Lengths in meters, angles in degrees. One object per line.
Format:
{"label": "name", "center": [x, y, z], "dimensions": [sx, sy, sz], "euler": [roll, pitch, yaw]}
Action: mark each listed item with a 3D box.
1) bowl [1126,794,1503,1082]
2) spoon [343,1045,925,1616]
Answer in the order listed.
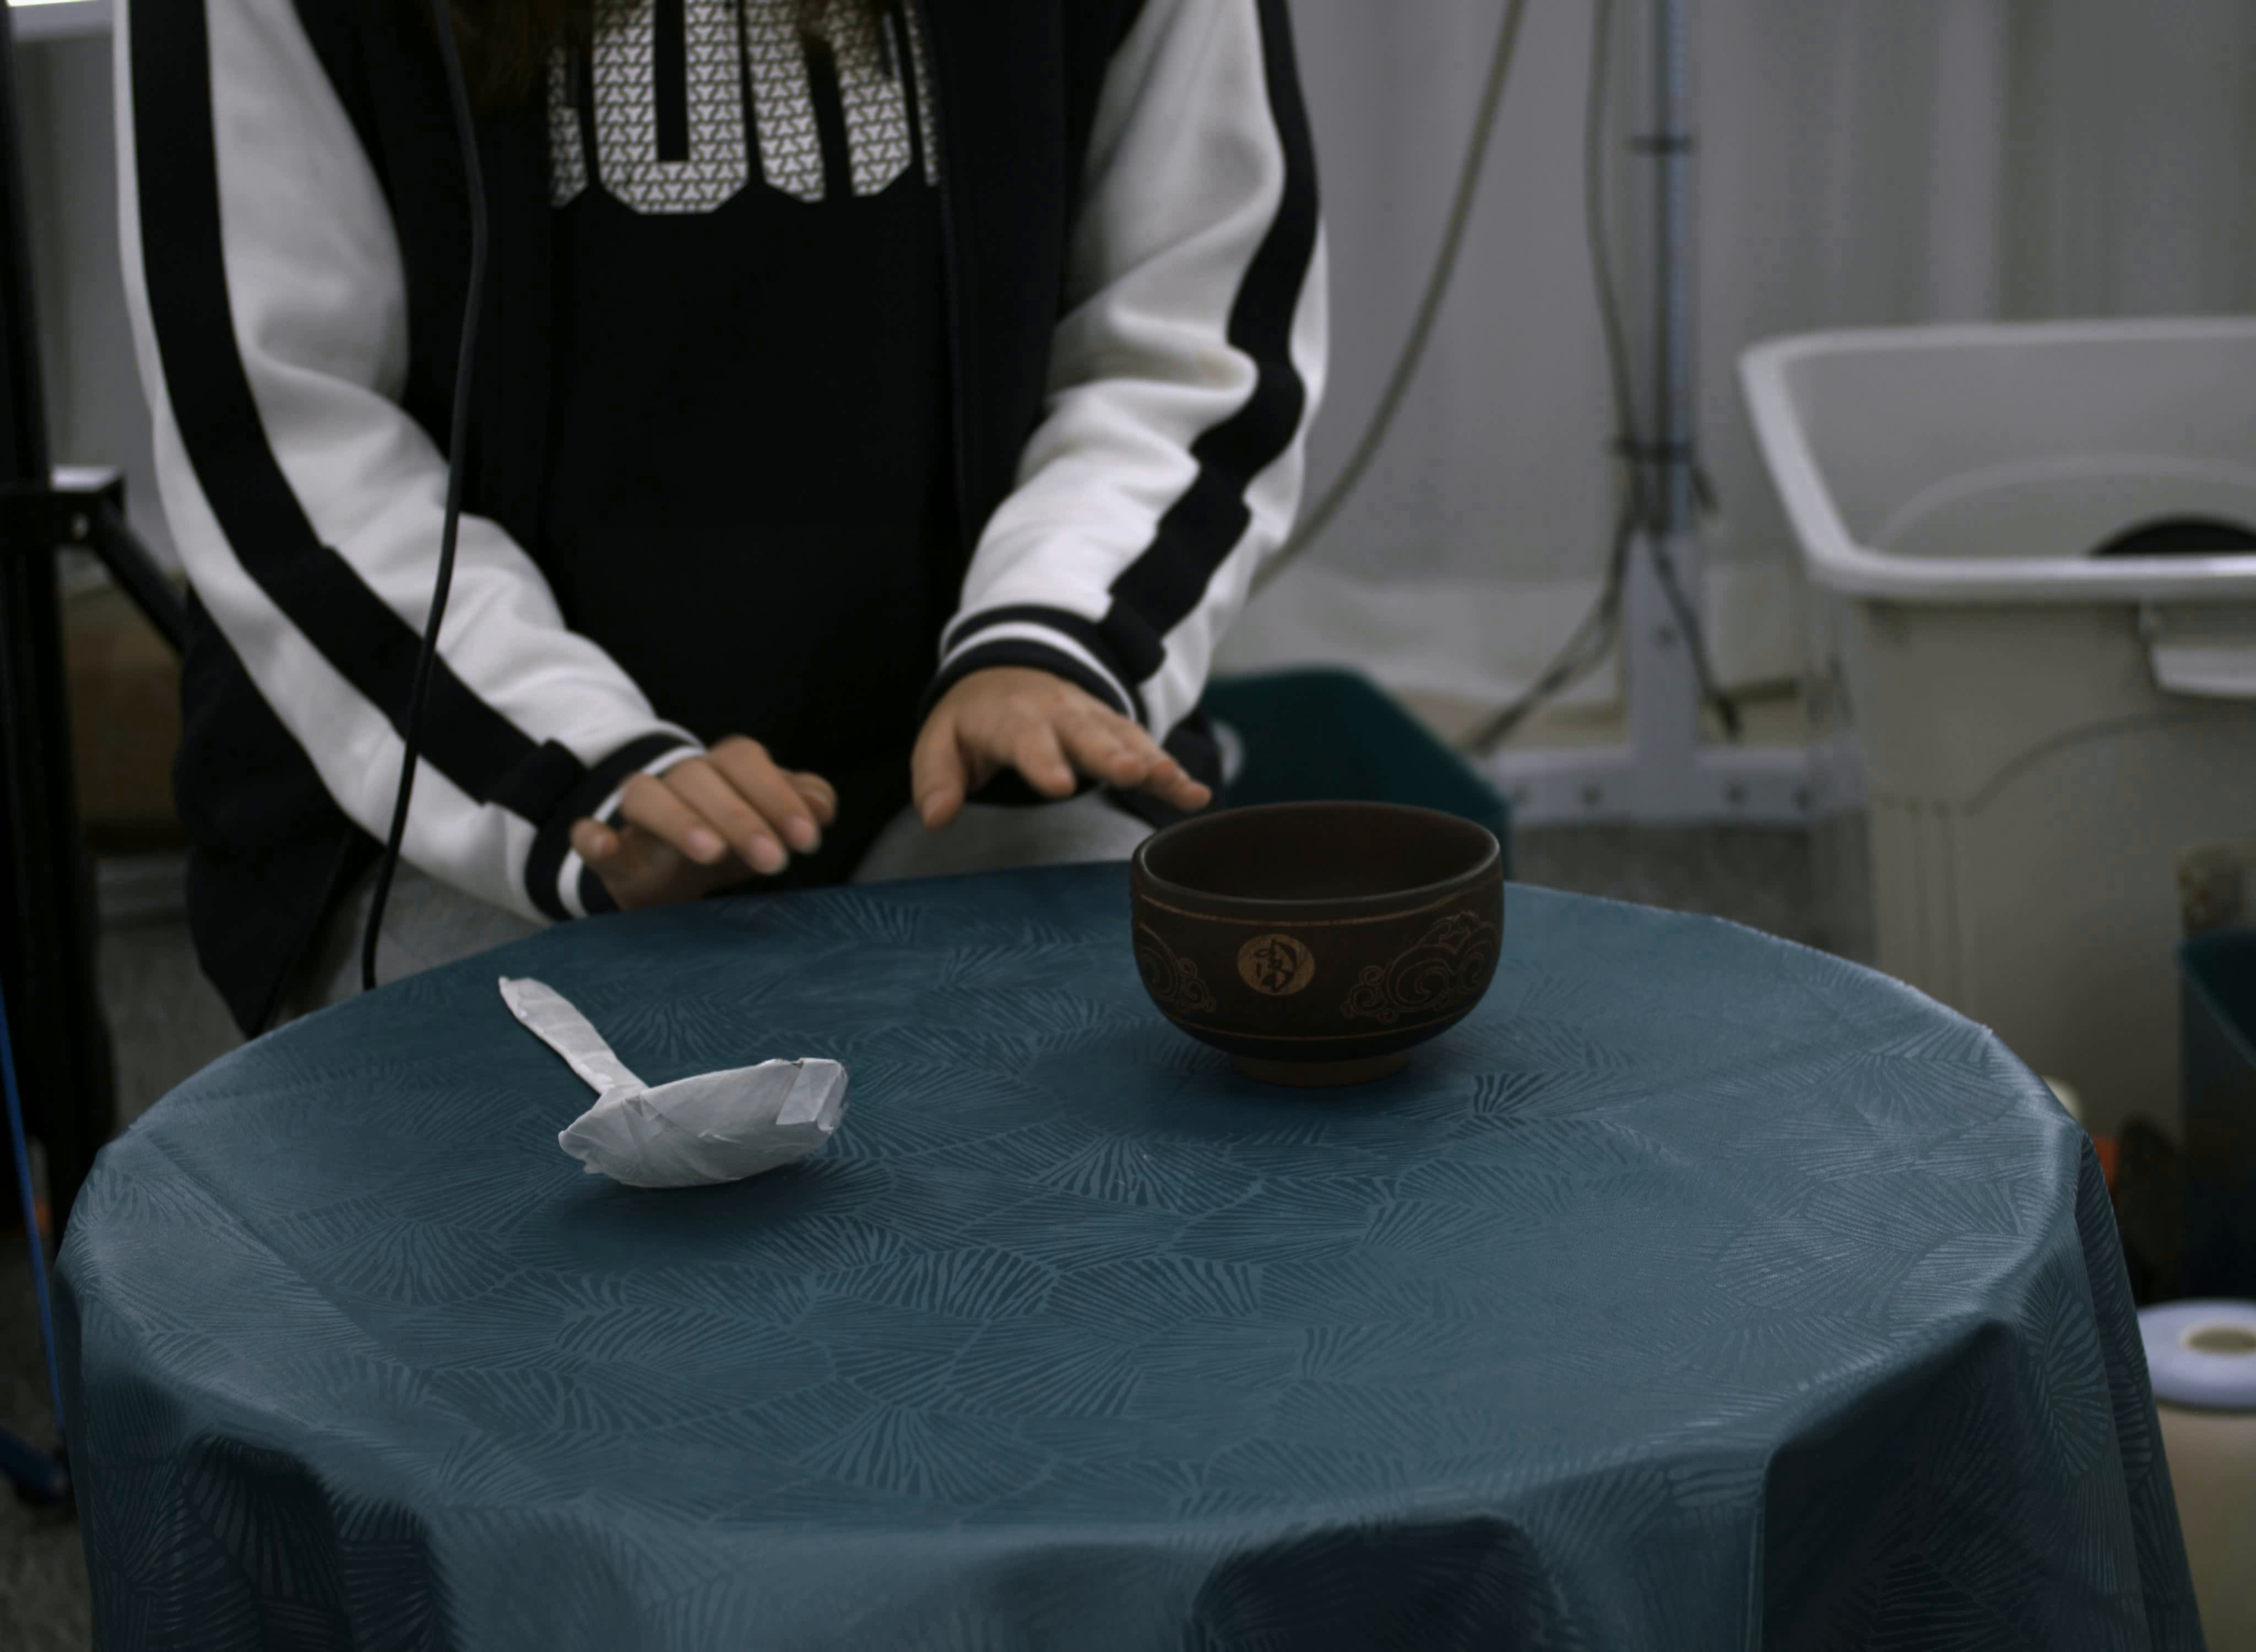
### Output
{"label": "bowl", "center": [0.059, 0.039, 1.659], "dimensions": [0.117, 0.070, 0.118], "euler": [-2, 15, -1]}
{"label": "spoon", "center": [-0.161, 0.160, 1.603], "dimensions": [0.098, 0.279, 0.060], "euler": [12, 32, -42]}
